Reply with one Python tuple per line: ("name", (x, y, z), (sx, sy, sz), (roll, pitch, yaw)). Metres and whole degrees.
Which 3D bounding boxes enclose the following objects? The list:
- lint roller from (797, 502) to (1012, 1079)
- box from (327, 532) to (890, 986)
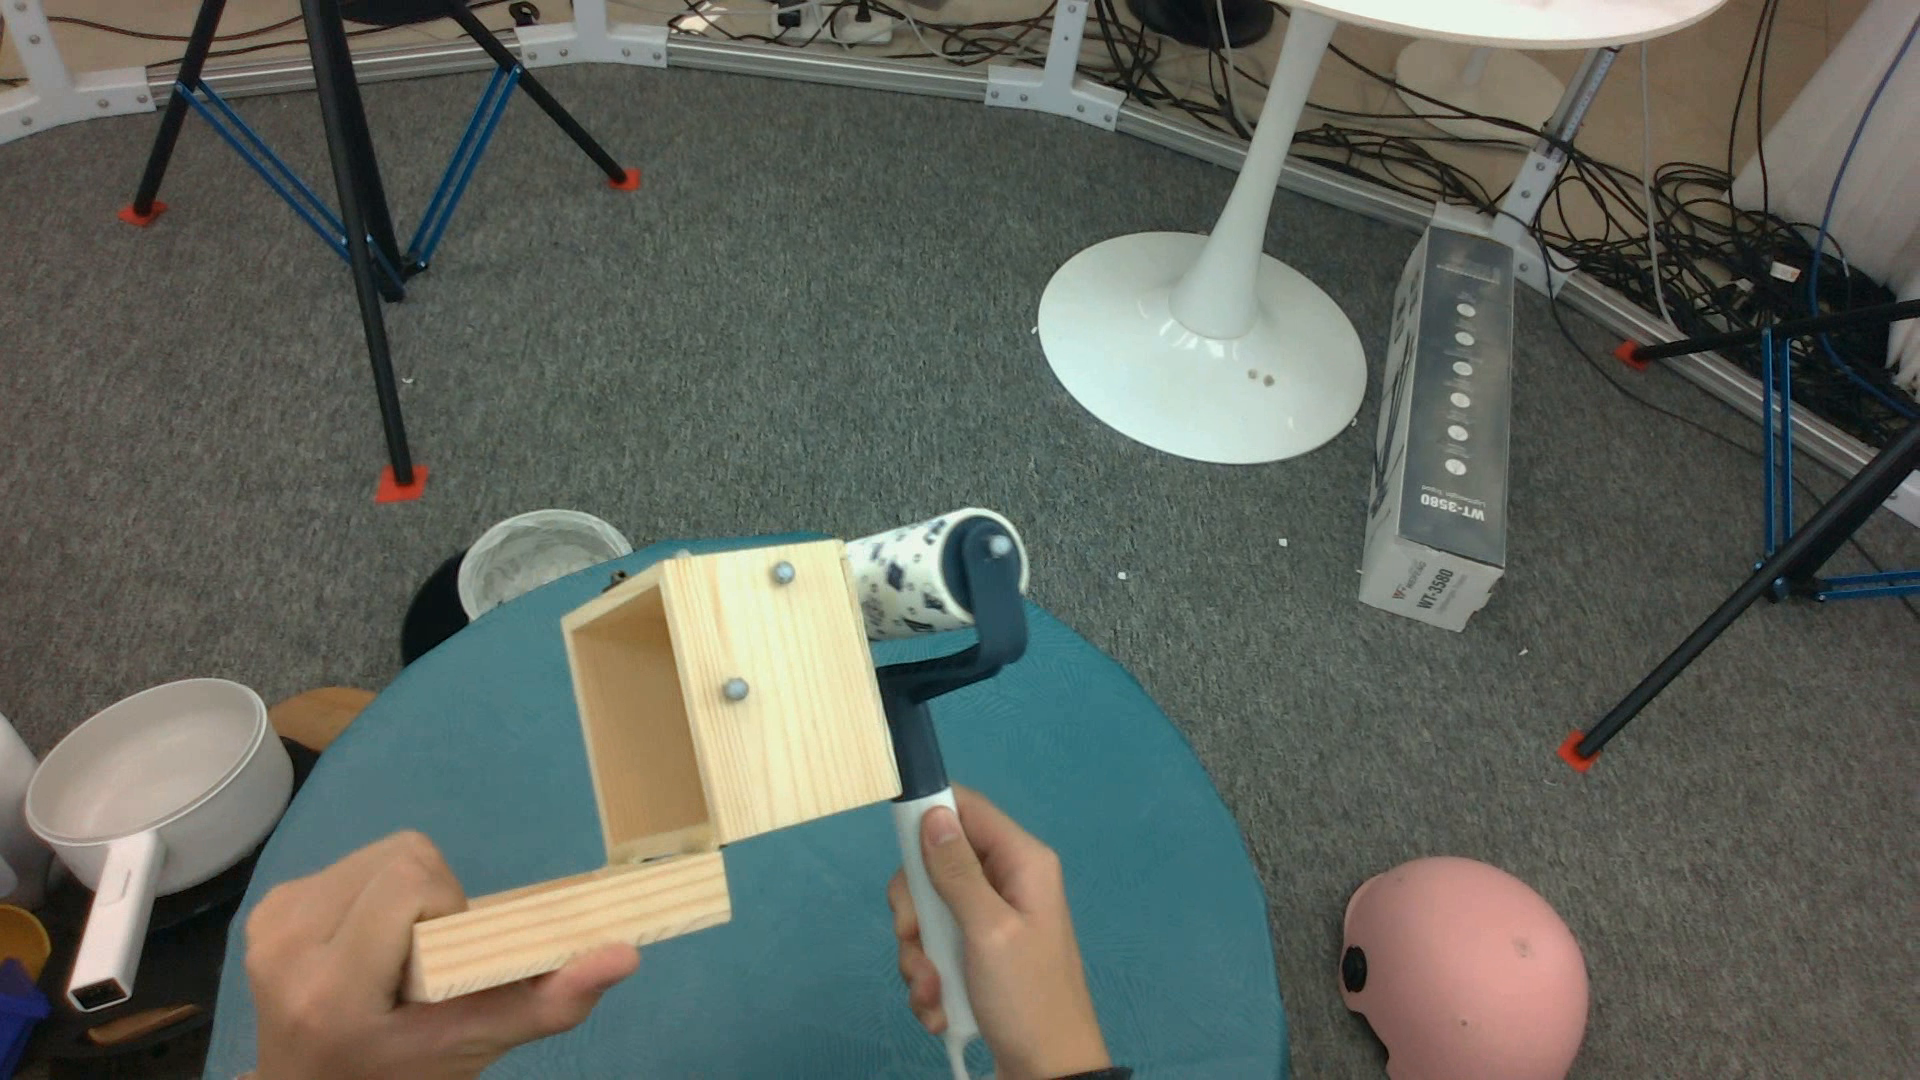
("lint roller", (-0.020, 0.115, 0.607), (0.050, 0.175, 0.247), (-17, 93, -38))
("box", (-0.135, 0.074, 0.509), (0.185, 0.102, 0.134), (-8, 80, -39))
